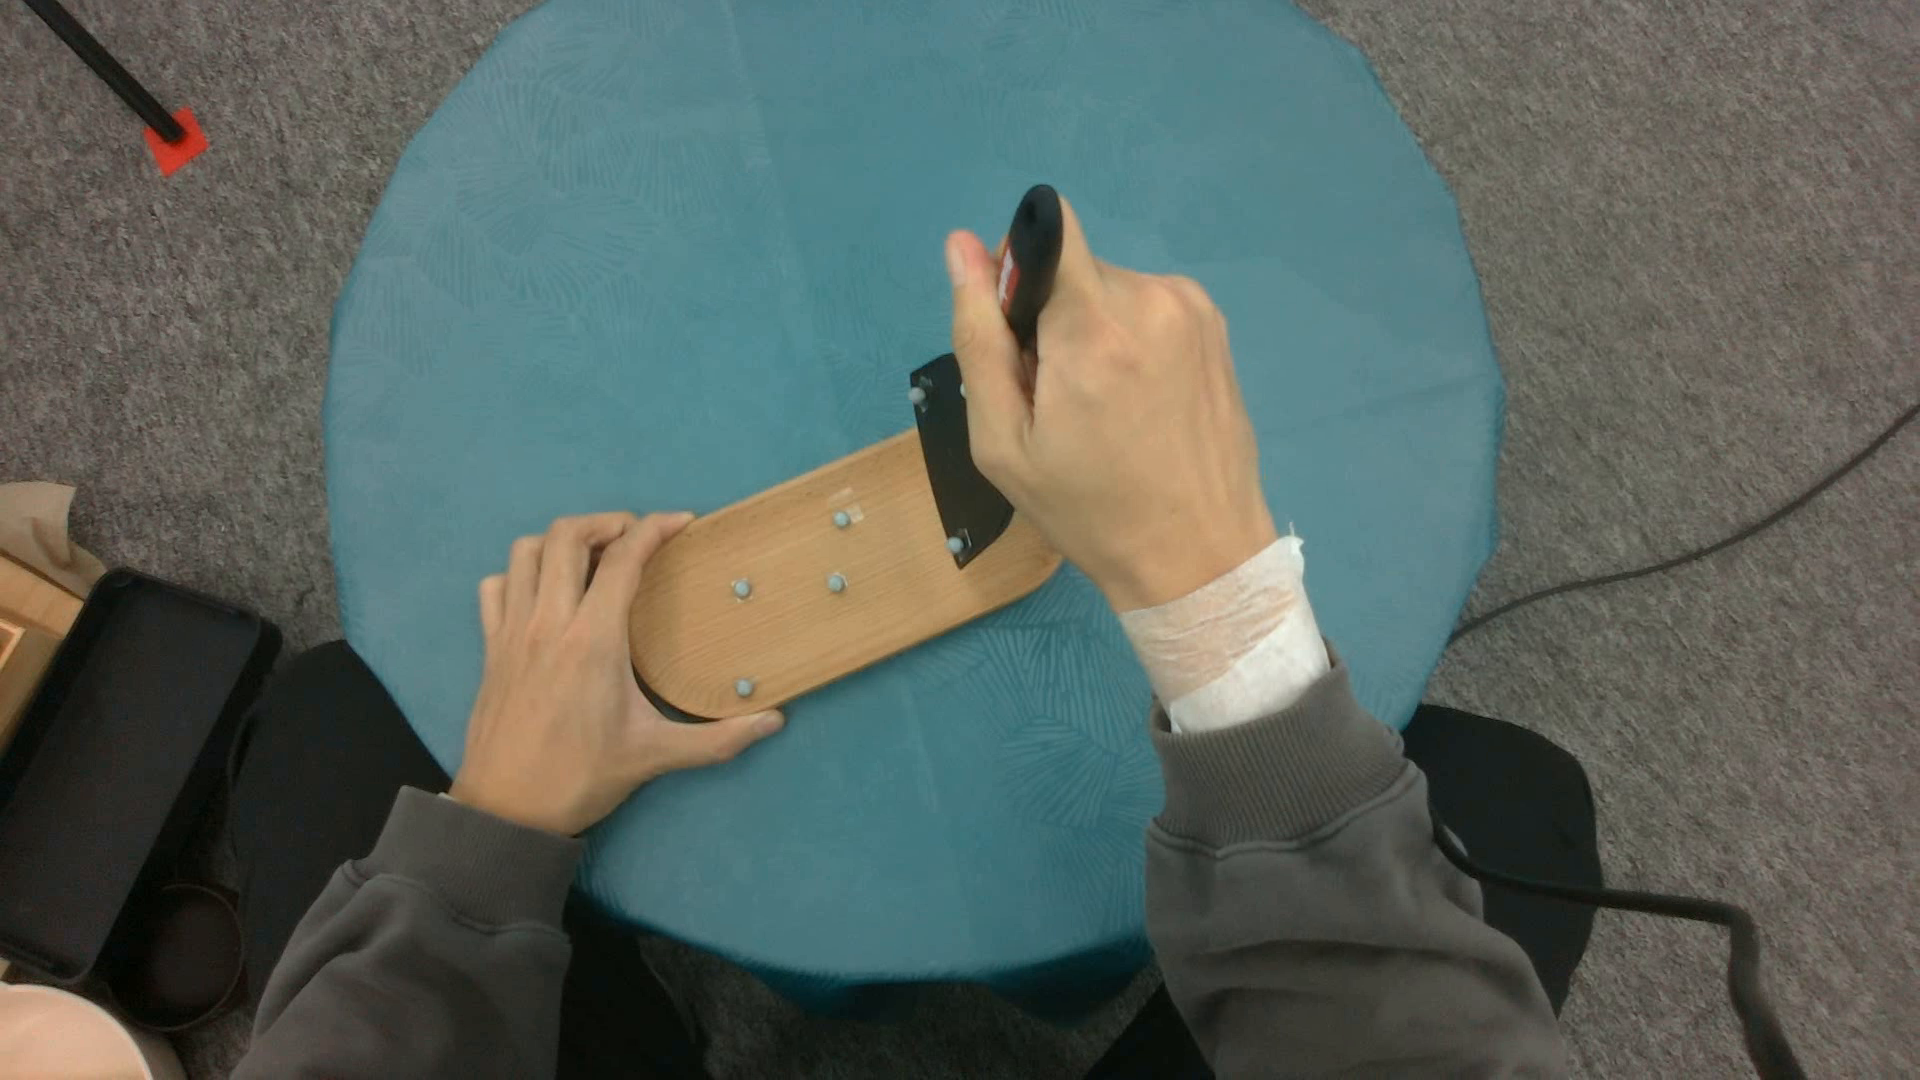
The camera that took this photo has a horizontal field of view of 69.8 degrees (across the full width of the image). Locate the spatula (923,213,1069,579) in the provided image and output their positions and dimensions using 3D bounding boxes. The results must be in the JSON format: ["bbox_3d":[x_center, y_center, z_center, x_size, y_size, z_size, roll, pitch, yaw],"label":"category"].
[{"bbox_3d":[0.011,-0.053,0.514,0.040,0.325,0.100,-16,82,-2],"label":"spatula"}]

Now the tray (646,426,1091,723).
[{"bbox_3d":[-0.044,0.015,0.690,0.231,0.020,0.102,-23,76,-7],"label":"tray"}]
